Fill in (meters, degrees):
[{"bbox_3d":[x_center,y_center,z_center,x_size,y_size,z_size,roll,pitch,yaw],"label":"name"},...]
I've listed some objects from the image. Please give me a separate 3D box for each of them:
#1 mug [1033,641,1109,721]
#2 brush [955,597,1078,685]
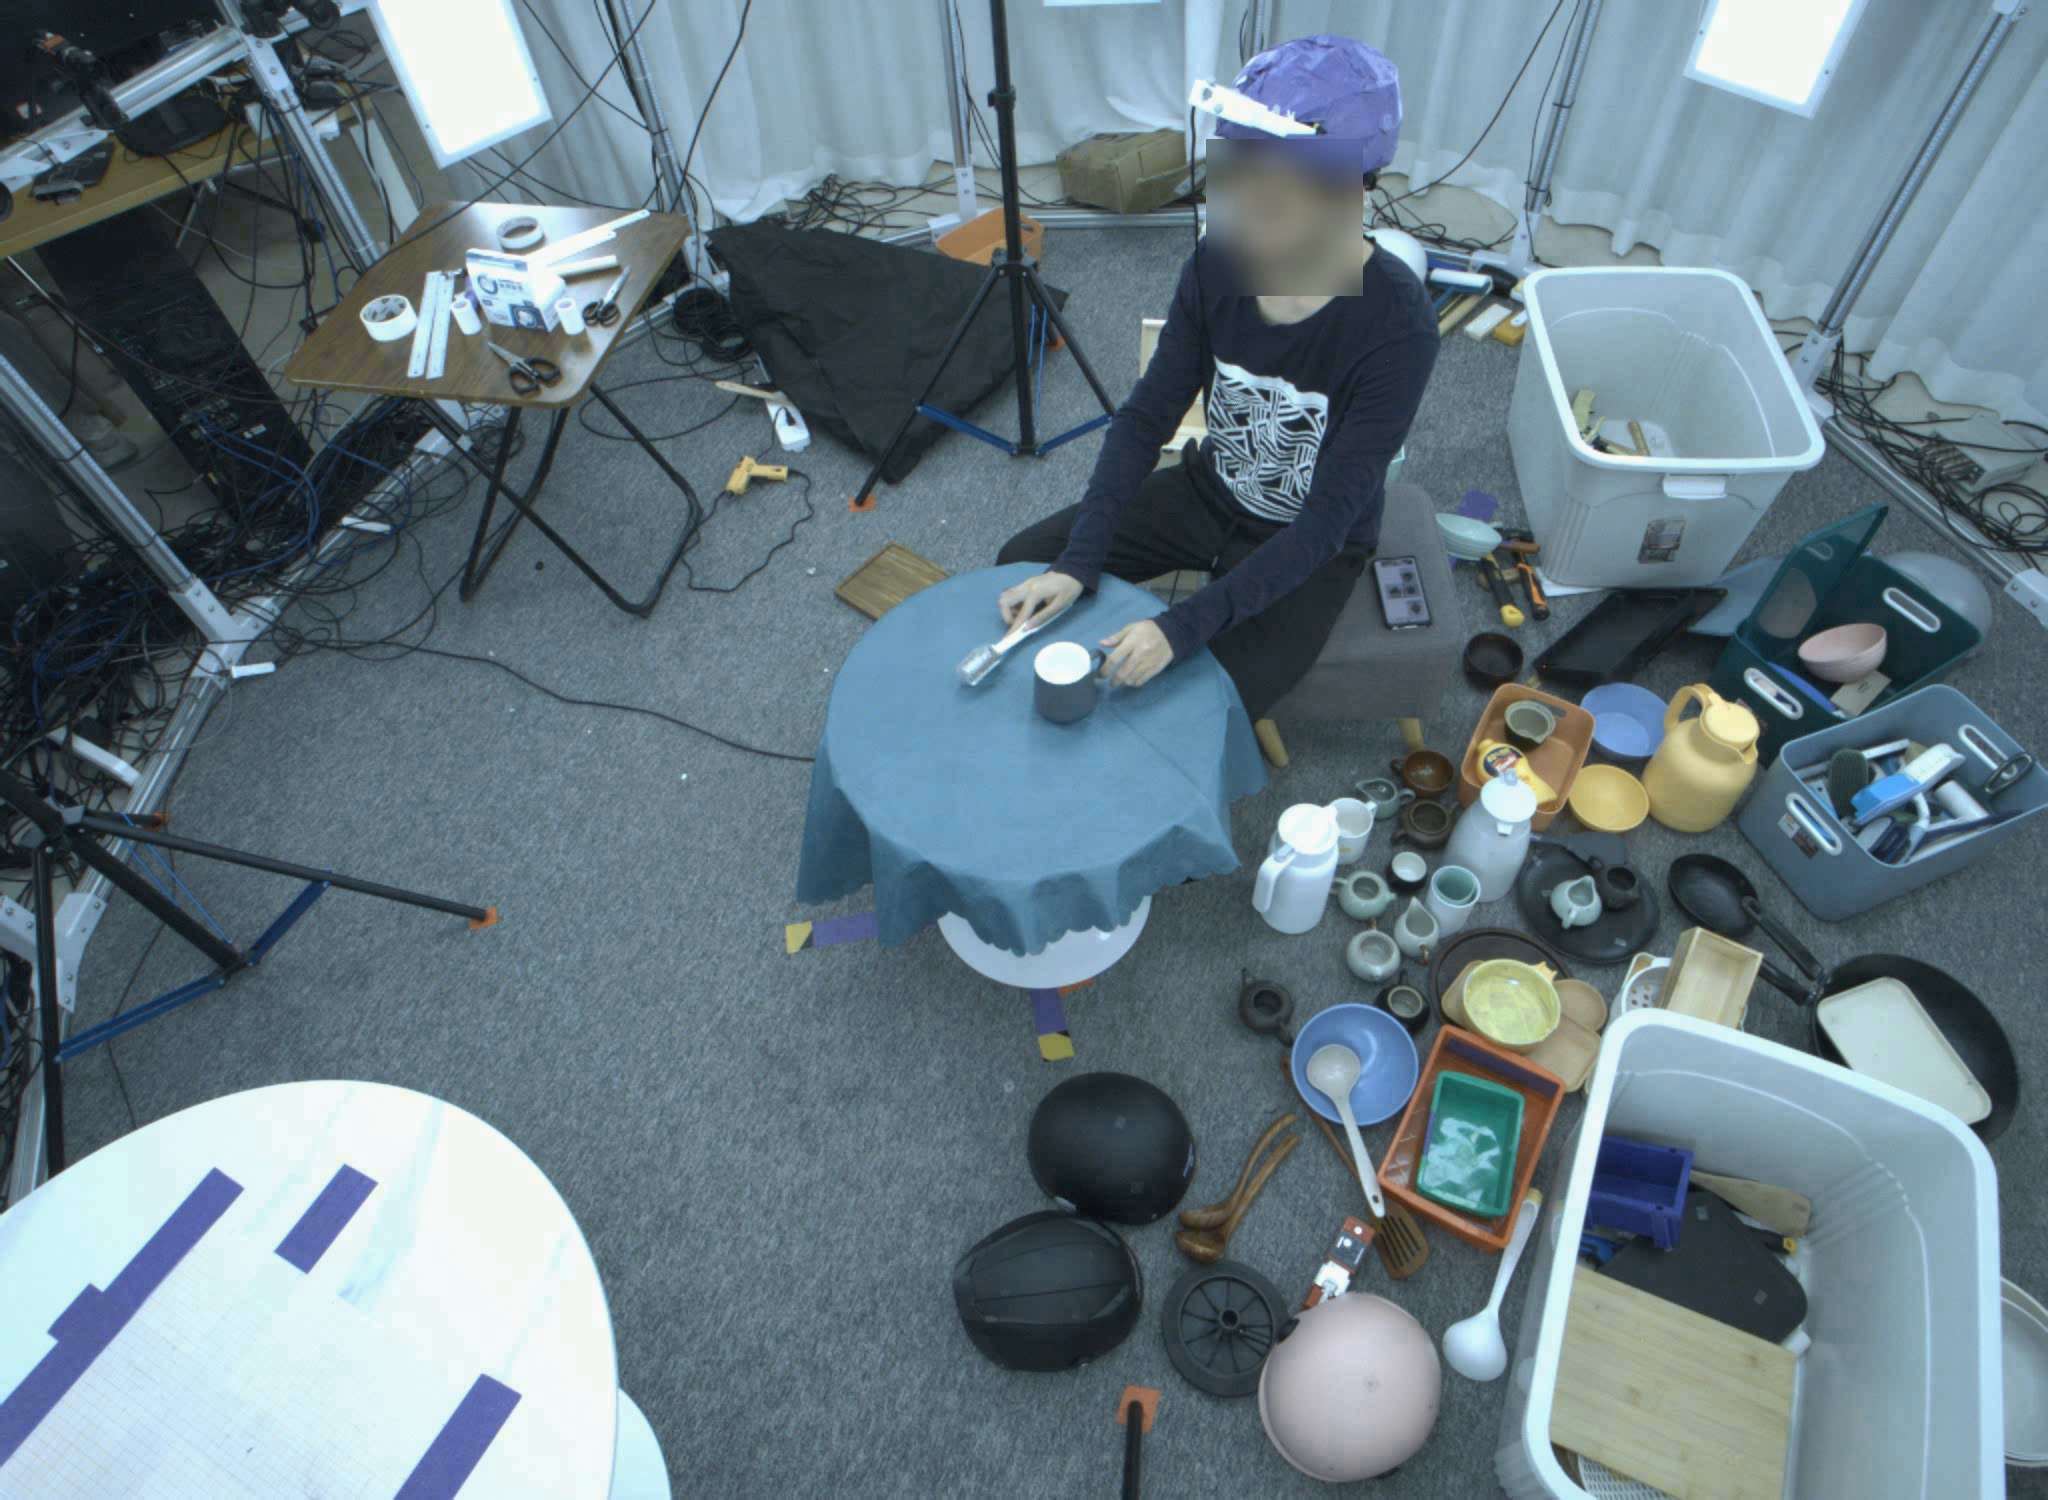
[{"bbox_3d":[0.071,-0.107,1.795,0.124,0.091,0.092,-30,60,-16],"label":"mug"},{"bbox_3d":[-0.006,-0.177,1.875,0.245,0.050,0.034,-36,78,-23],"label":"brush"}]
